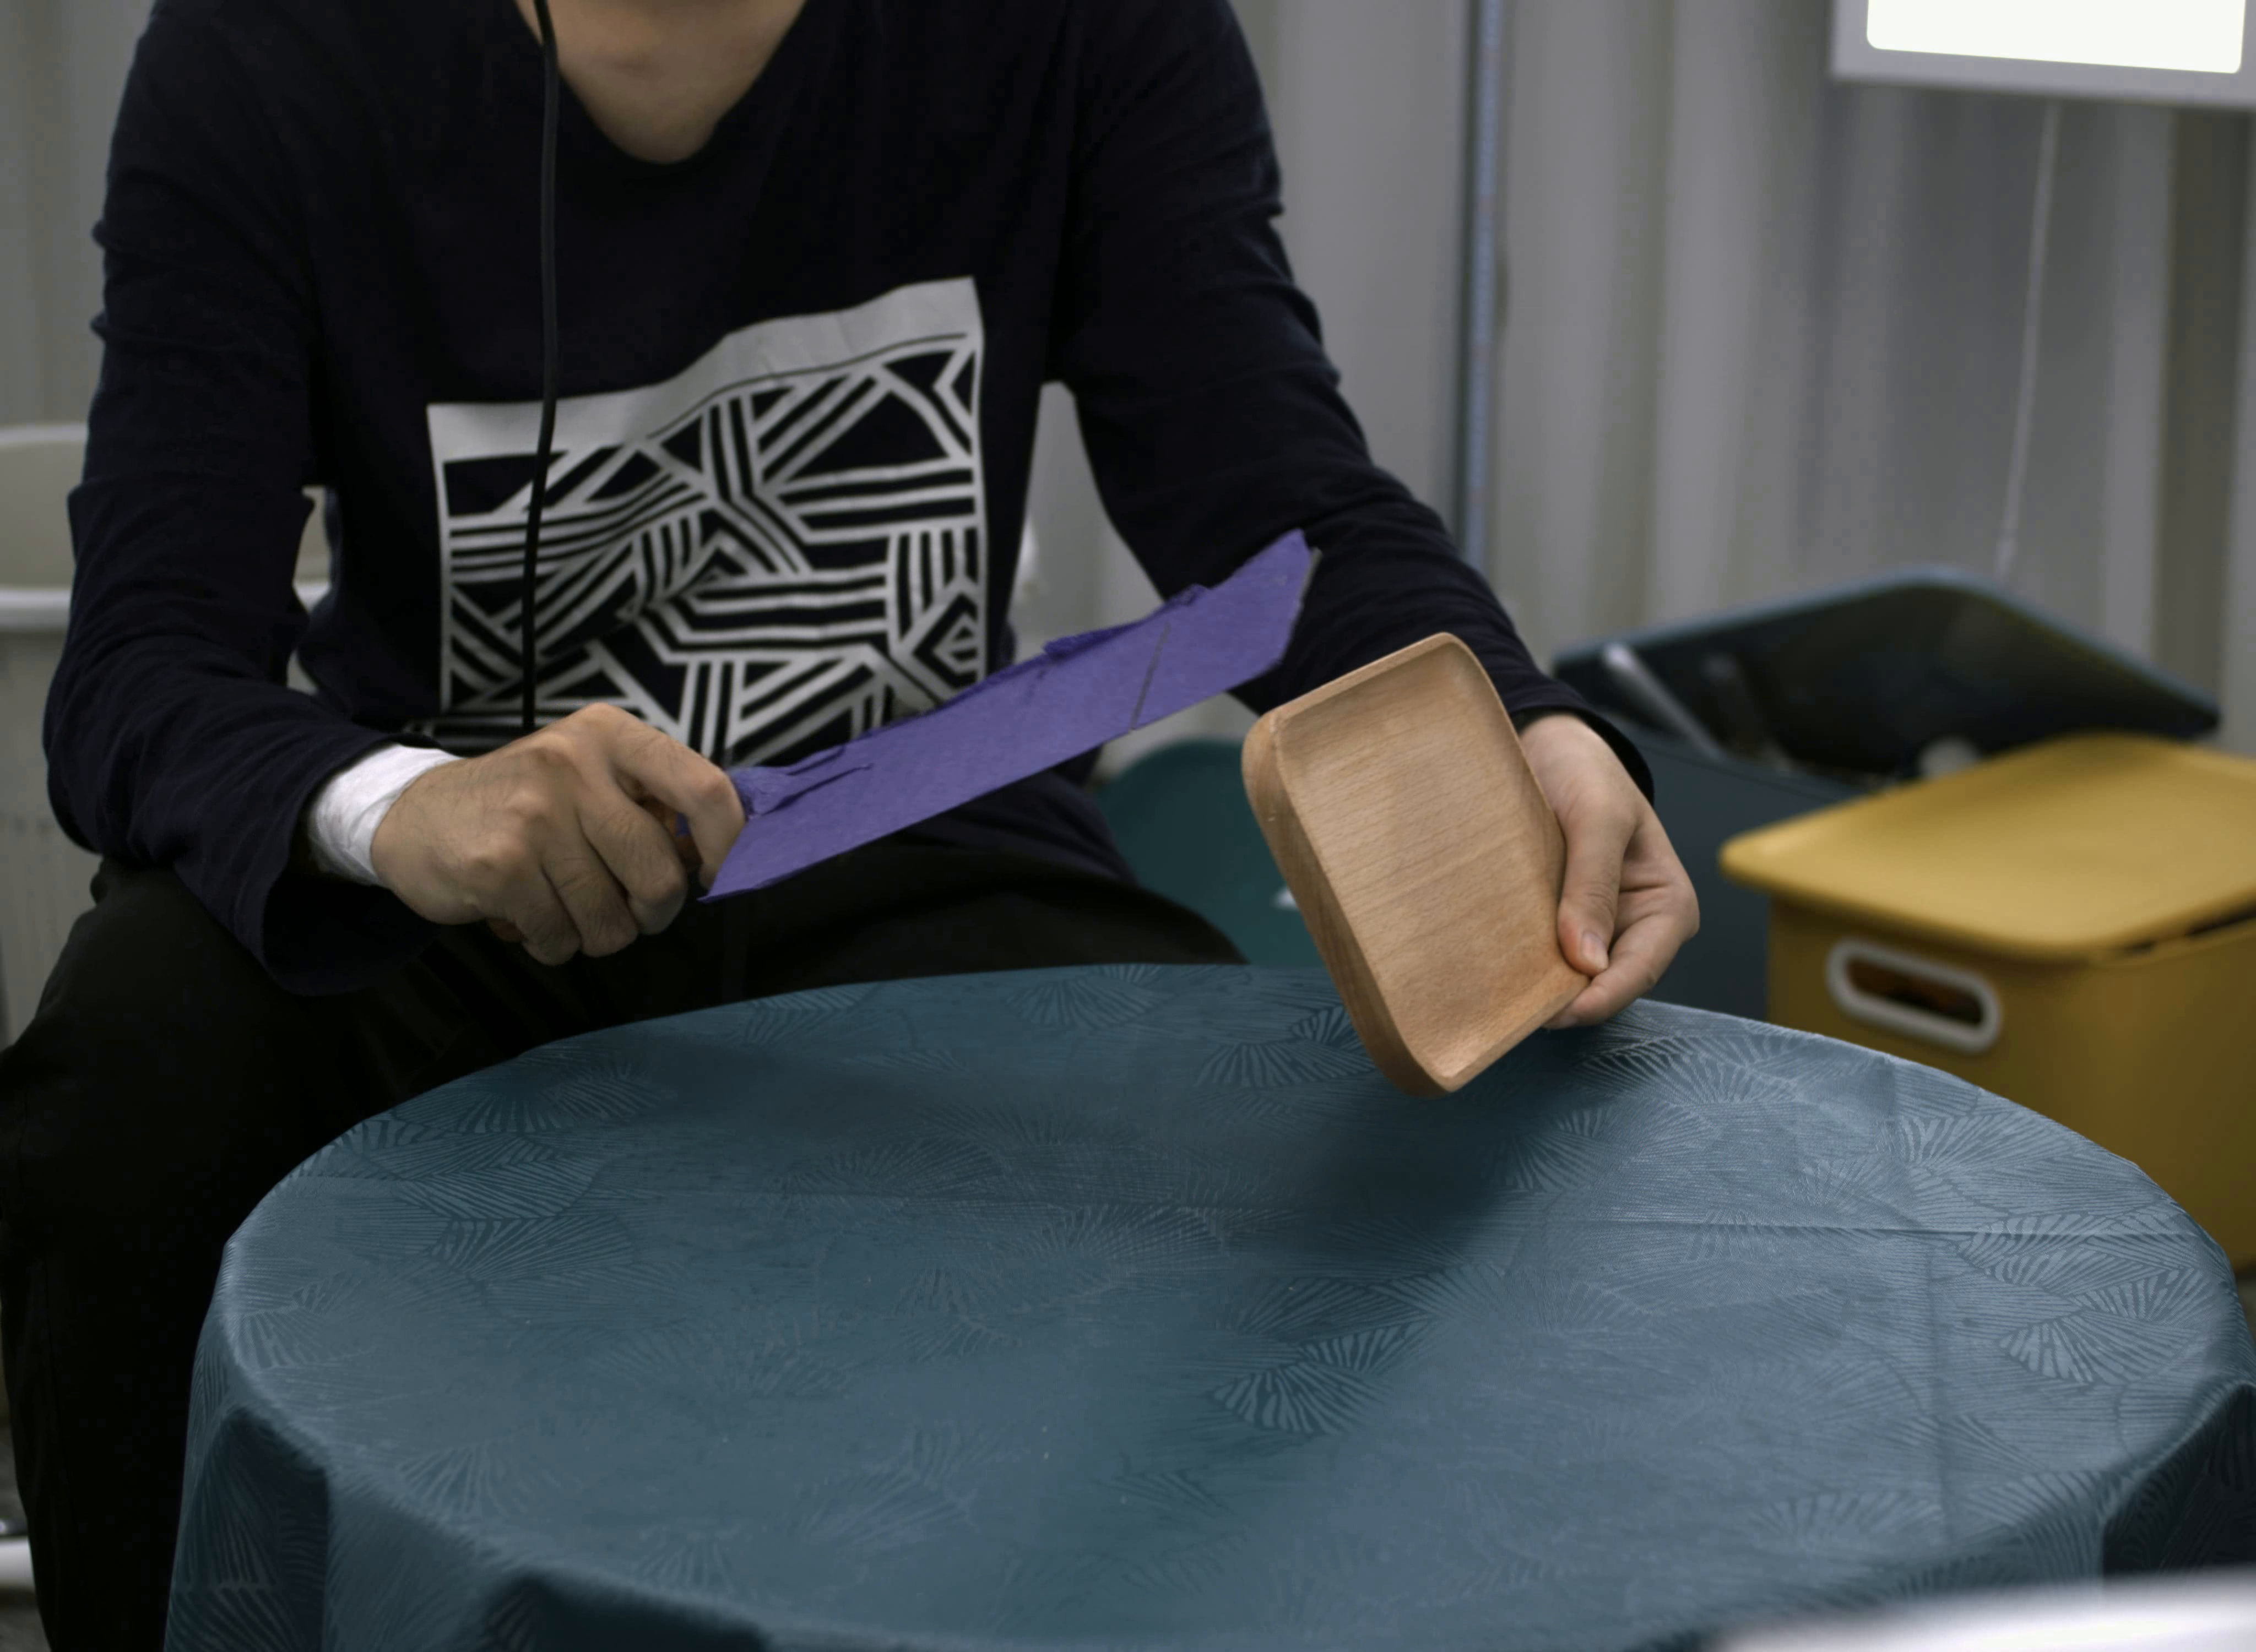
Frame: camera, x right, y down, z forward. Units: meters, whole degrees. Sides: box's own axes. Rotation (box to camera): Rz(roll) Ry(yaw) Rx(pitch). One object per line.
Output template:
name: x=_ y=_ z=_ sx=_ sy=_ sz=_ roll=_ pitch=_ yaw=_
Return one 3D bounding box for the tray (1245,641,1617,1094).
tray: x=0.098 y=0.010 z=1.657 sx=0.023 sy=0.131 sz=0.251 roll=-22 pitch=-1 yaw=19

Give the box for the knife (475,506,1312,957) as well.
knife: x=-0.083 y=-0.018 z=1.650 sx=0.314 sy=0.032 sz=0.103 roll=-26 pitch=19 yaw=22
